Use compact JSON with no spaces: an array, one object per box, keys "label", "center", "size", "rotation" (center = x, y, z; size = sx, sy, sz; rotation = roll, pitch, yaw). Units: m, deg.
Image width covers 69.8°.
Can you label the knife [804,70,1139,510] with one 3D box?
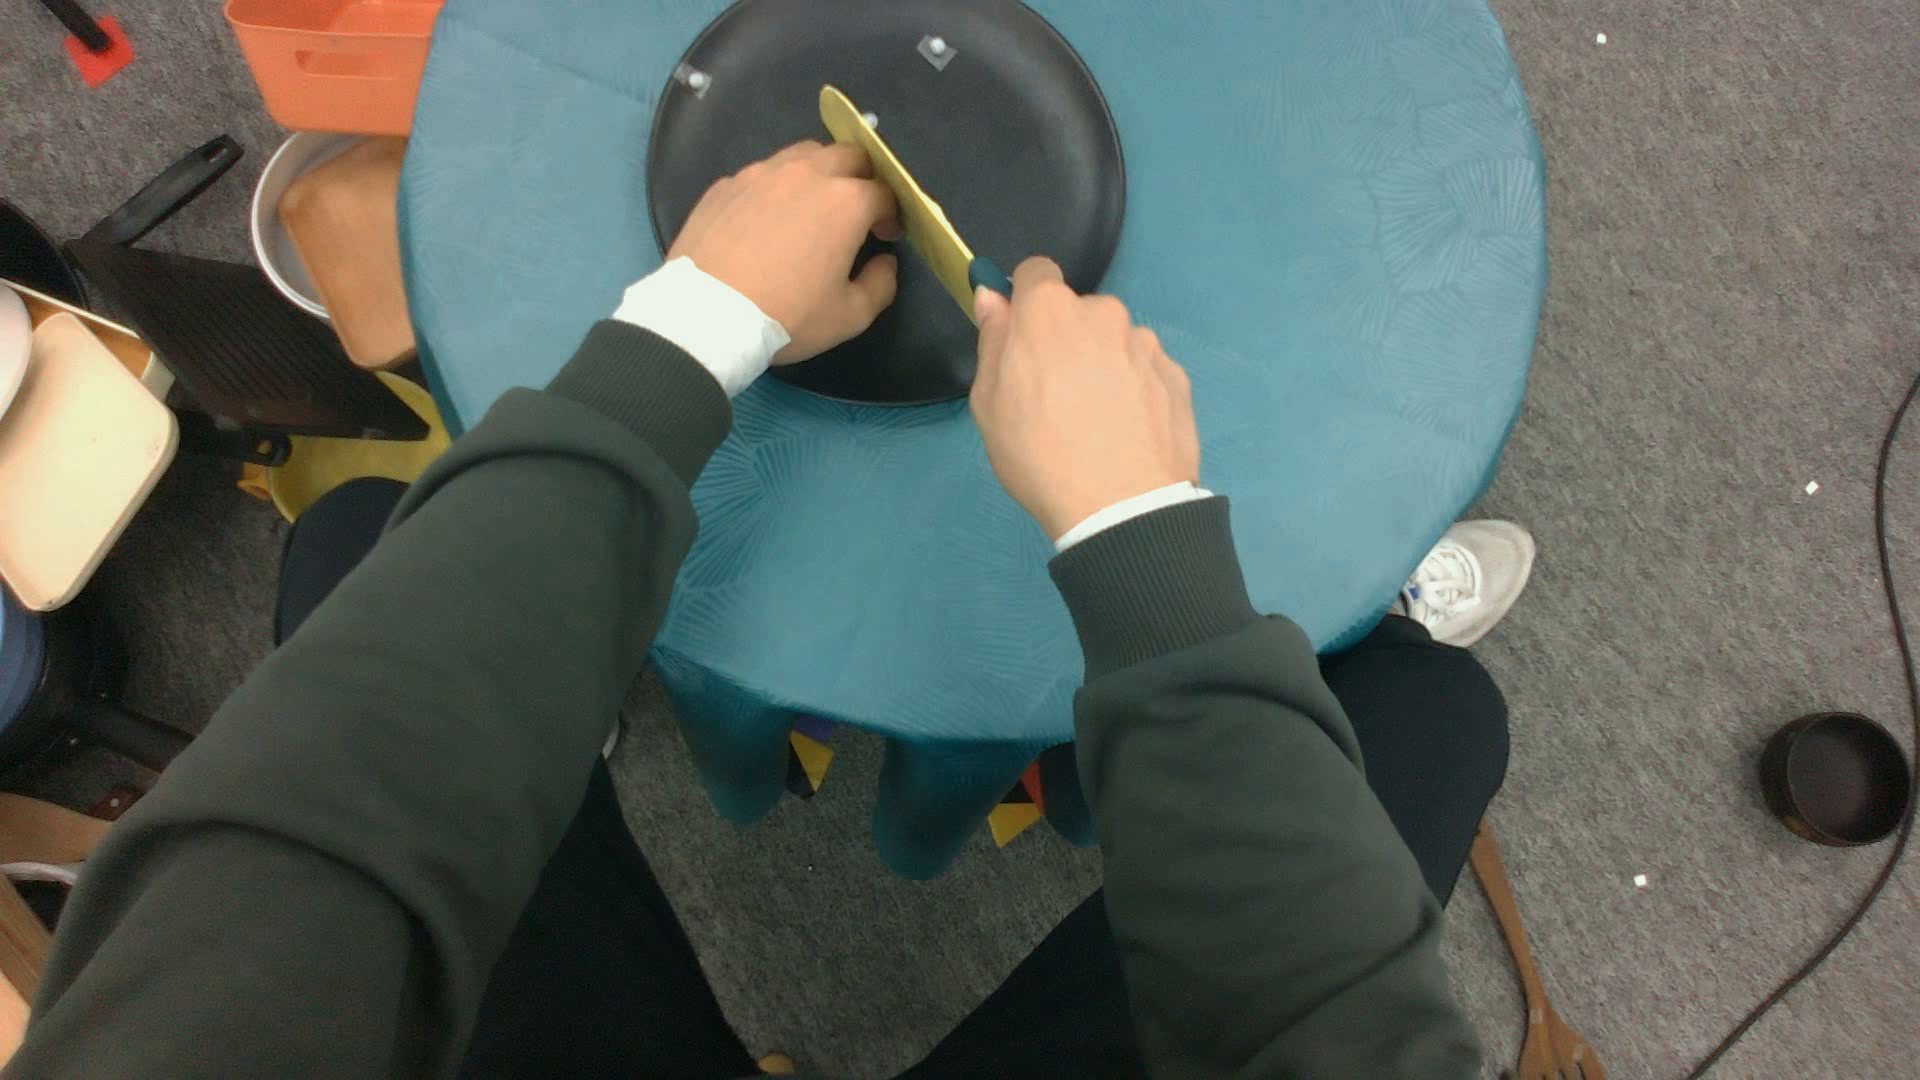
[{"label":"knife","center":[-0.005,-0.121,0.632],"size":[0.027,0.081,0.290],"rotation":[-32,64,-4]}]

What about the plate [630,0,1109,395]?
[{"label":"plate","center":[-0.045,-0.189,0.708],"size":[0.244,0.023,0.245],"rotation":[1,78,-5]}]
